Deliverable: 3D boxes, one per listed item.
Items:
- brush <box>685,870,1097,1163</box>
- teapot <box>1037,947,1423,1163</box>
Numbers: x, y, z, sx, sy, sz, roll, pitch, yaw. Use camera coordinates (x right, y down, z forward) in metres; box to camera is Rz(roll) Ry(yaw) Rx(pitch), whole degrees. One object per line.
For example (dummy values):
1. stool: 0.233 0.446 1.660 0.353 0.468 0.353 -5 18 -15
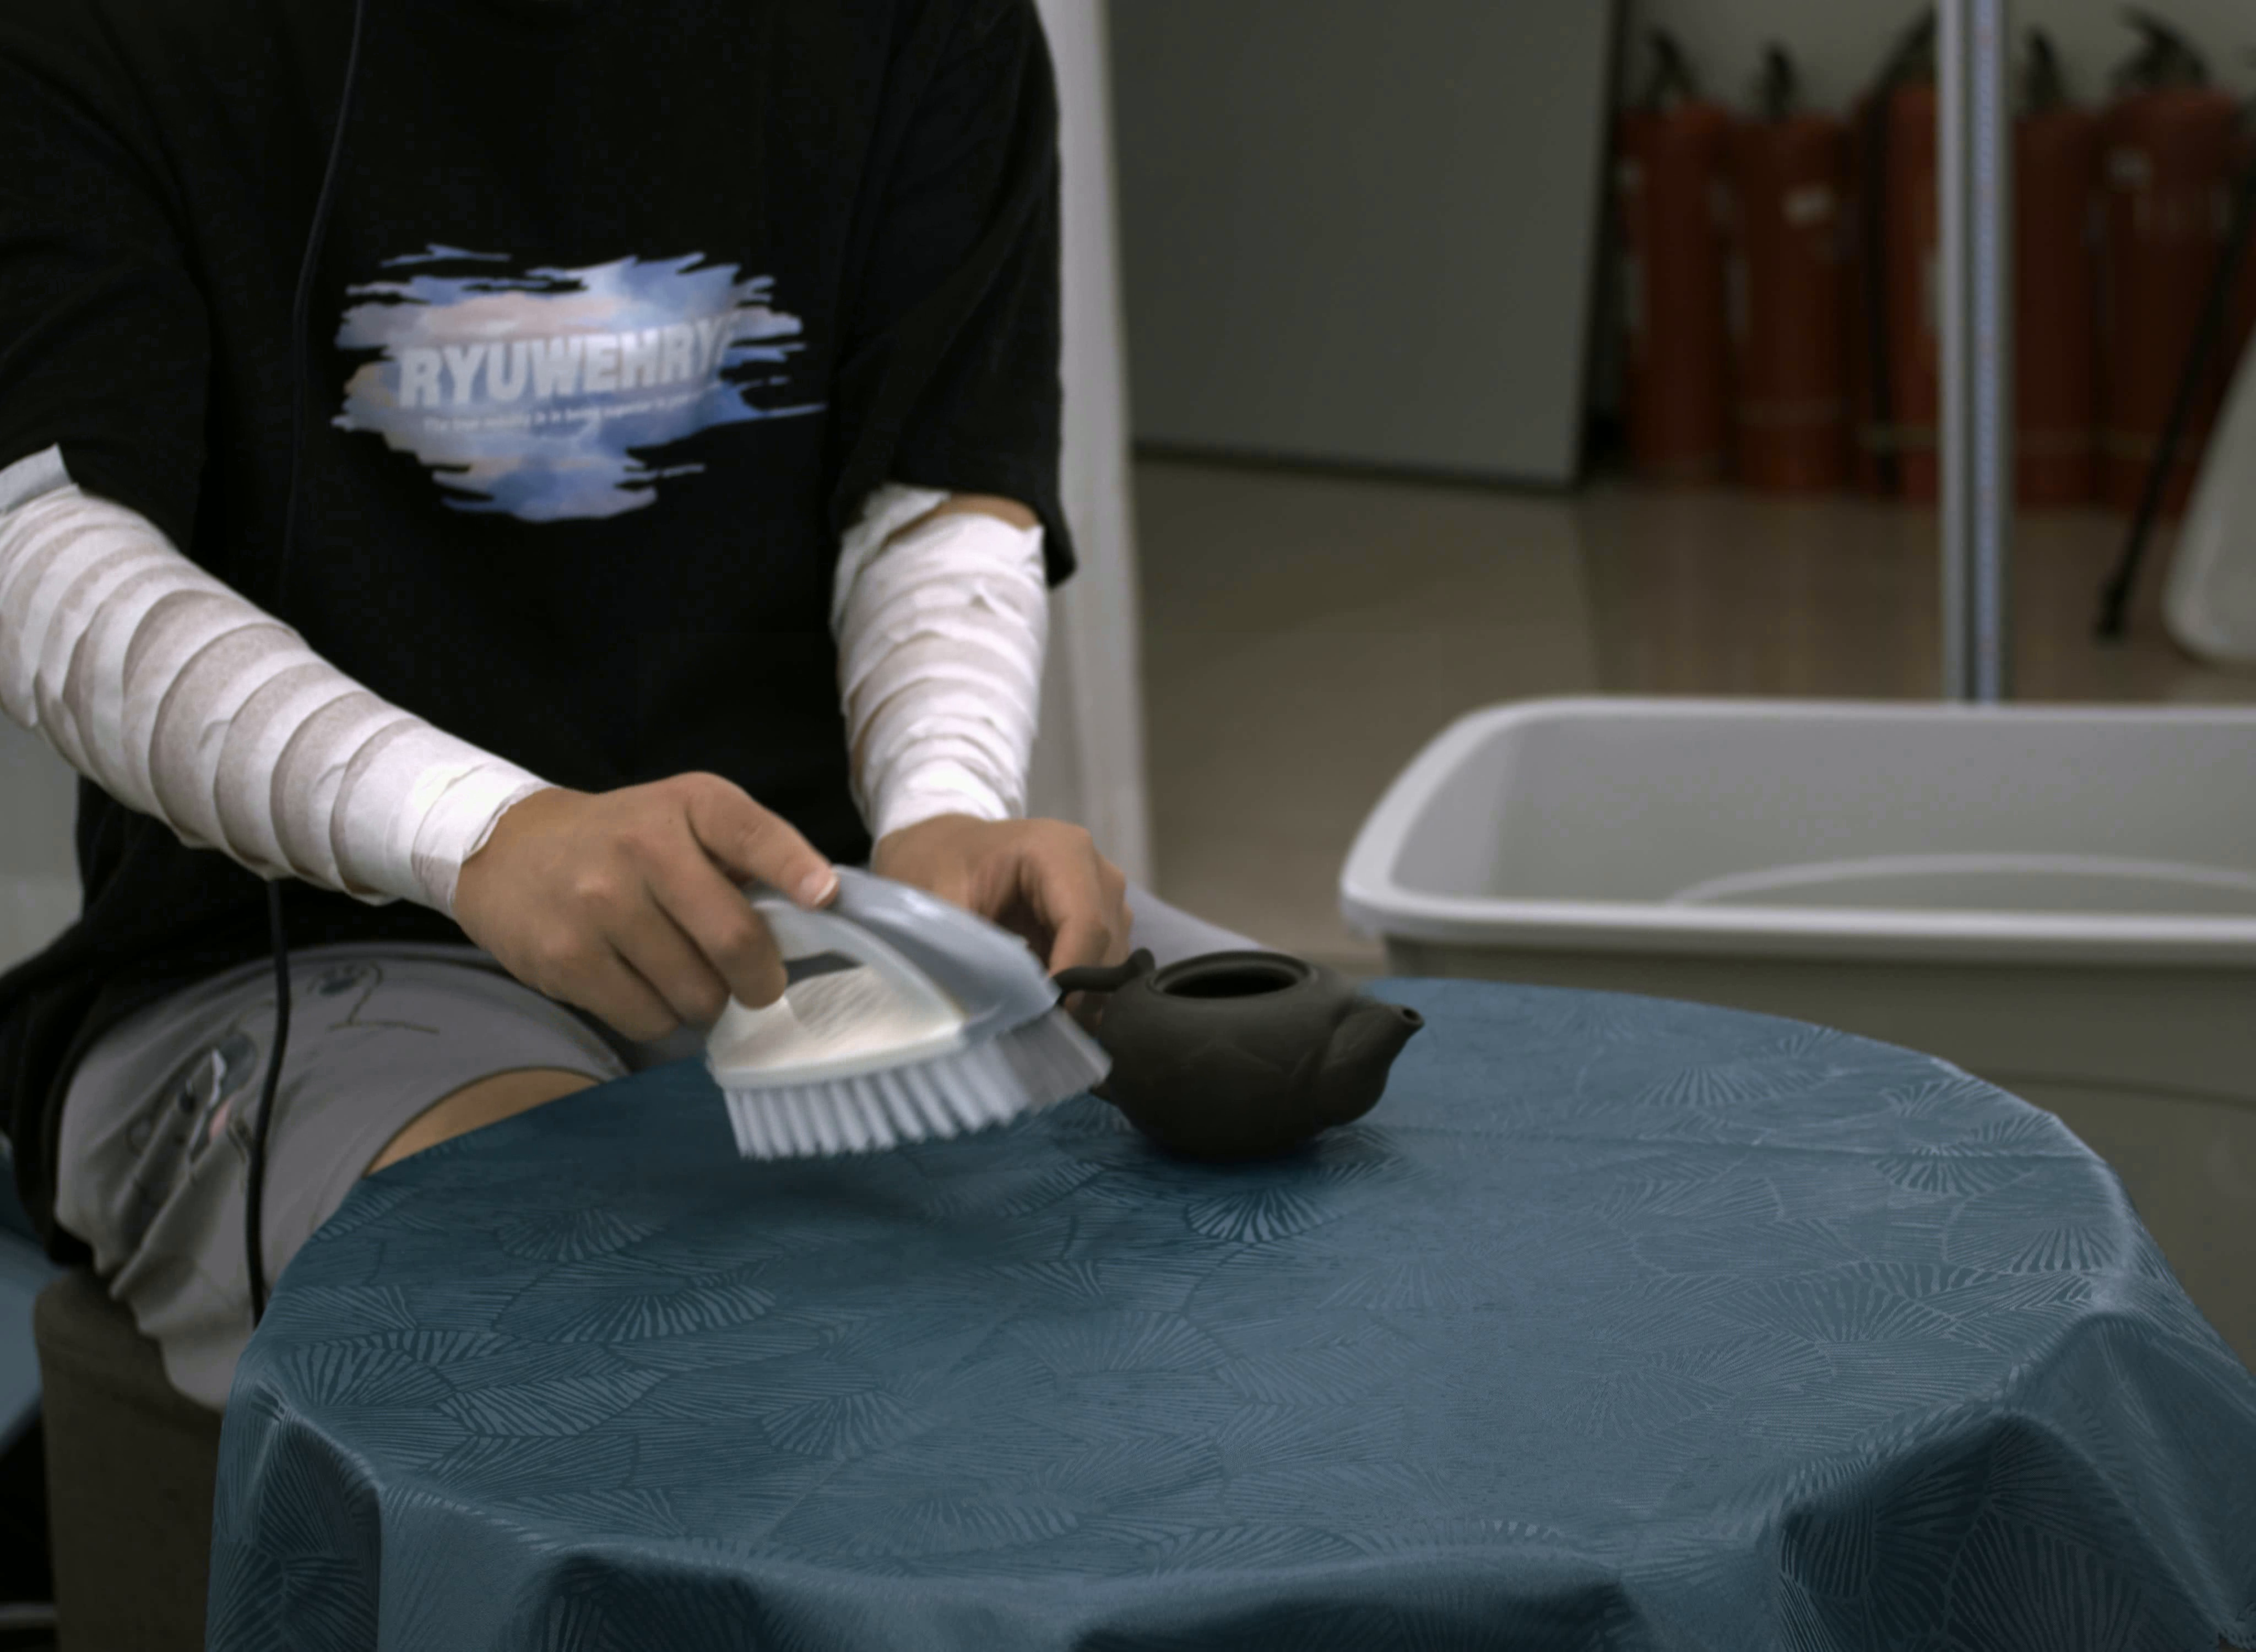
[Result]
1. brush: -0.082 0.055 1.733 0.061 0.094 0.177 -42 22 -30
2. teapot: 0.033 0.076 1.813 0.155 0.065 0.091 7 17 34
